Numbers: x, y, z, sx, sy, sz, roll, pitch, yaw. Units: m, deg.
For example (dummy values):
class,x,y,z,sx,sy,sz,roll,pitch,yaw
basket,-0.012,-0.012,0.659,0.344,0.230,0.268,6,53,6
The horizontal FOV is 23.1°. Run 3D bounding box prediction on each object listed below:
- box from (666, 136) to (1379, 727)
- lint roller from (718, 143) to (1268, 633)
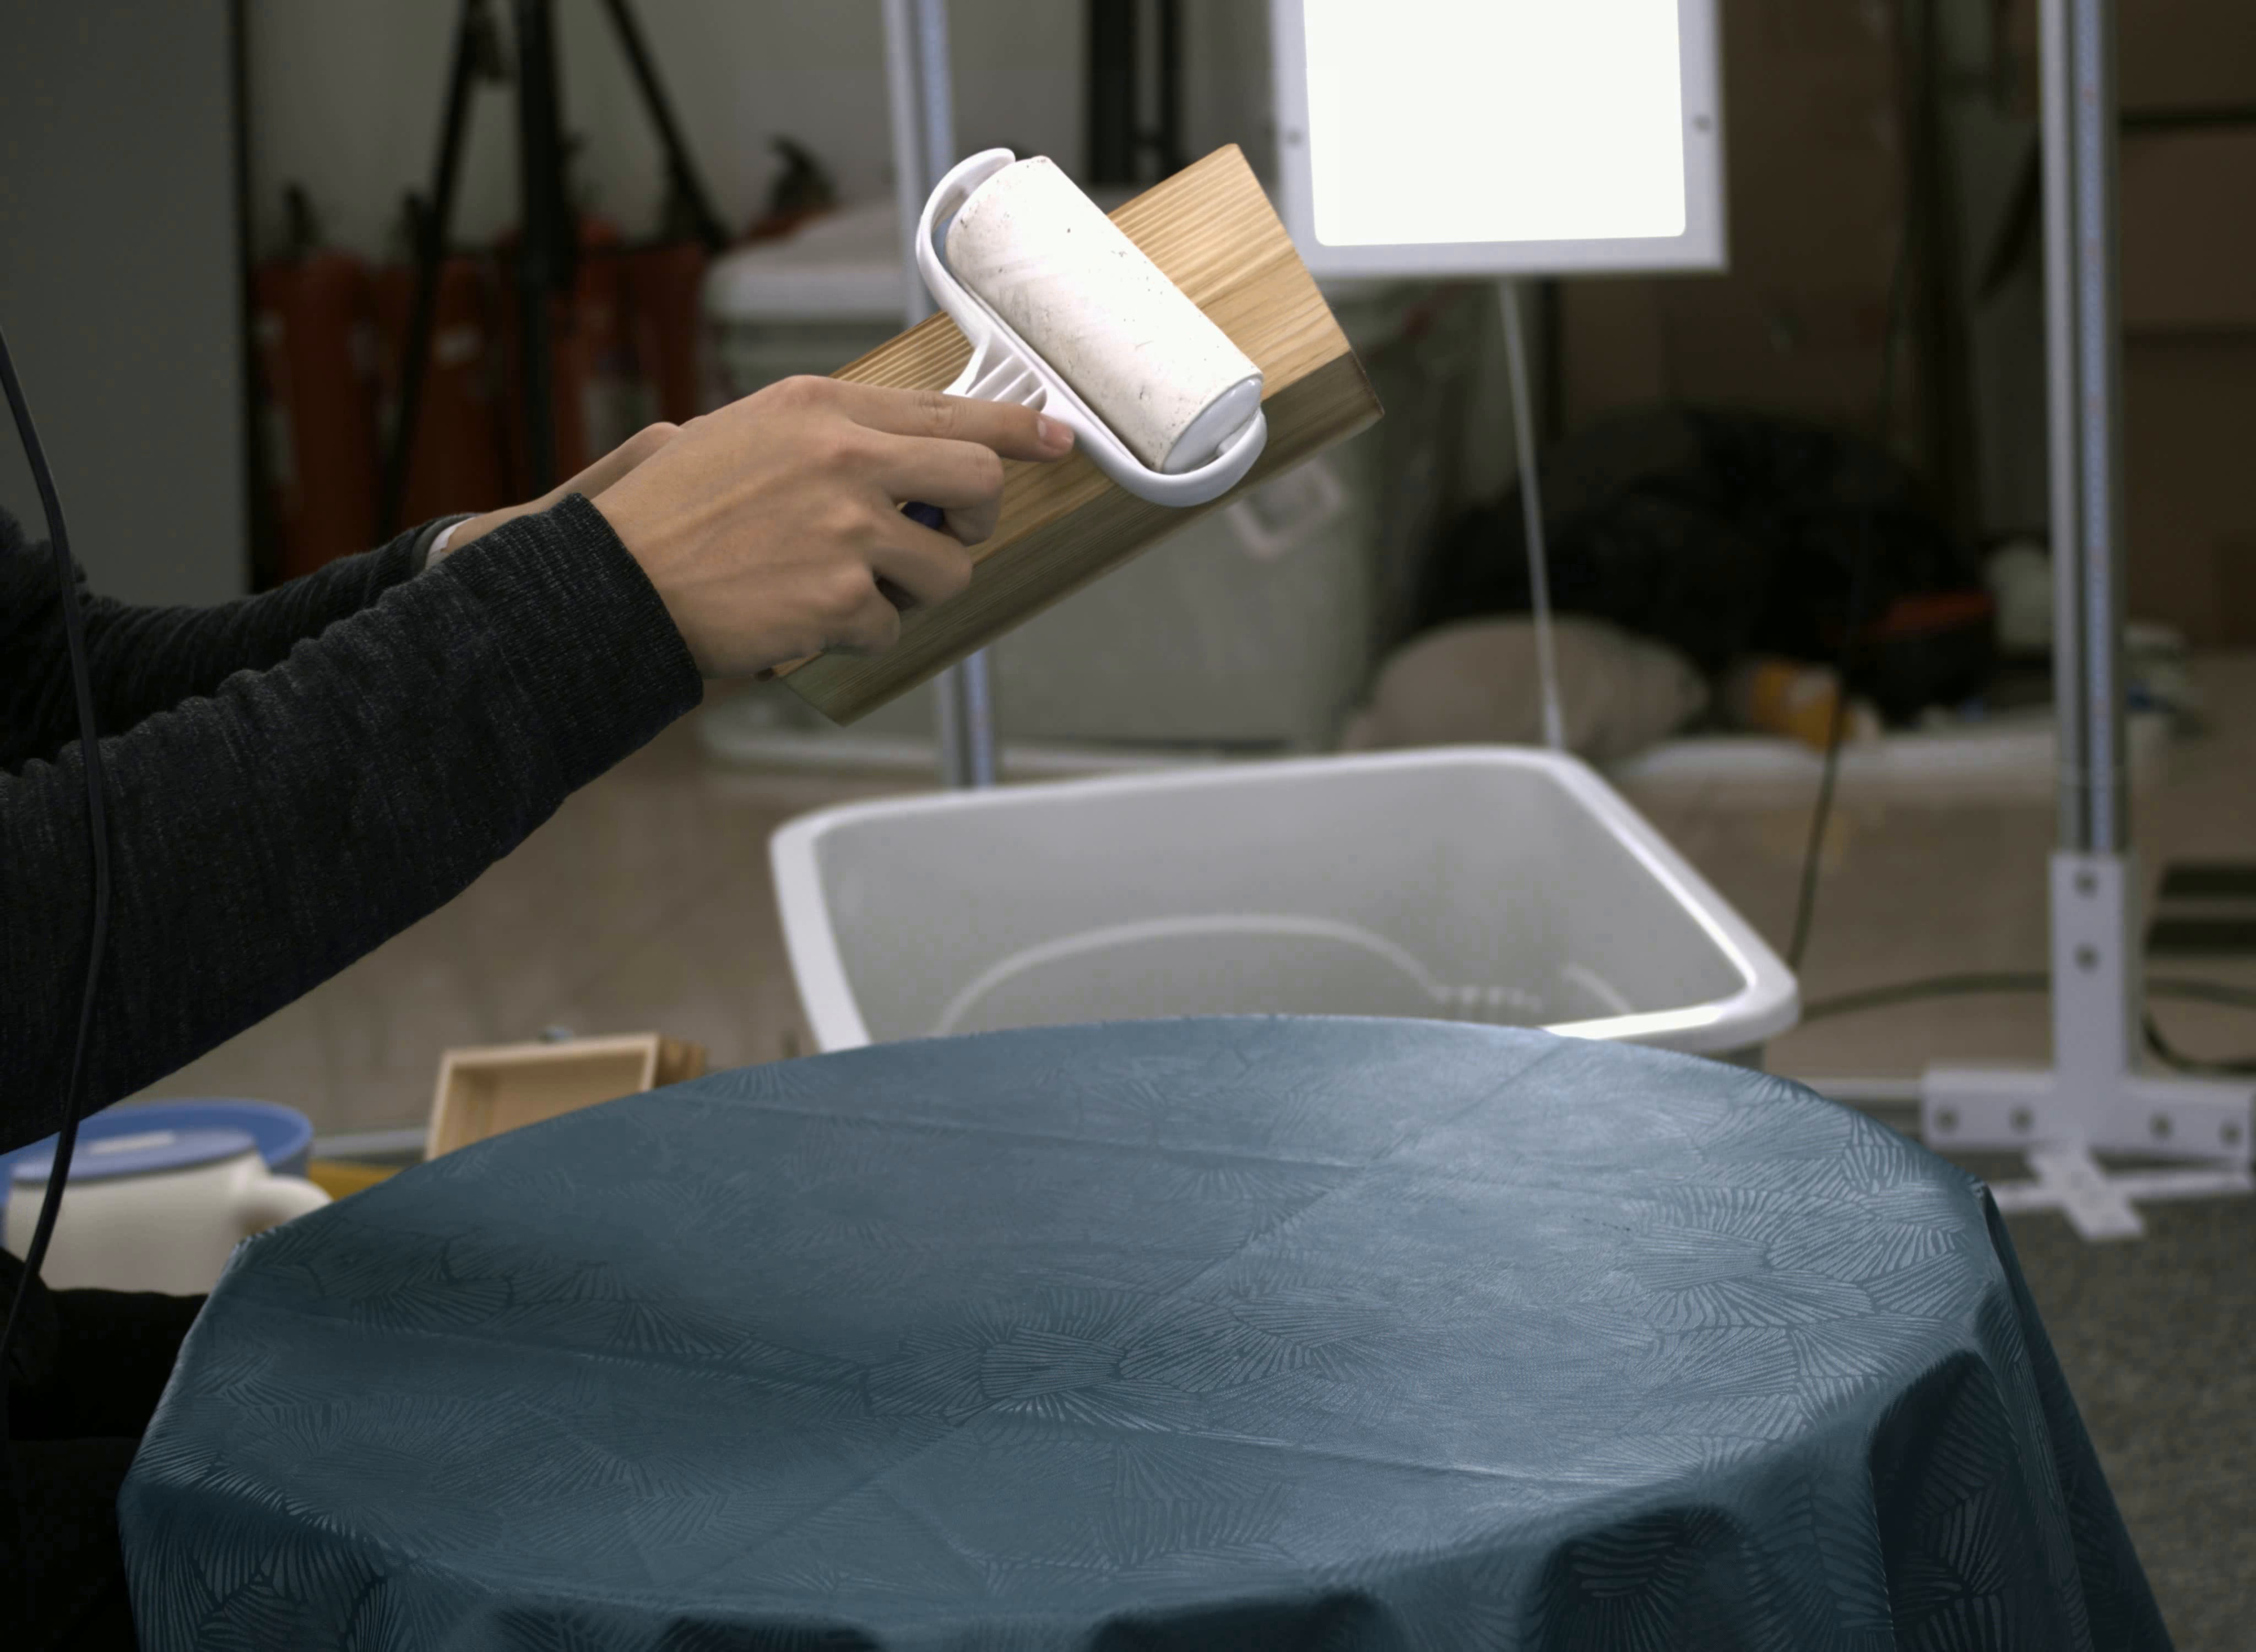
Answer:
class,x,y,z,sx,sy,sz,roll,pitch,yaw
box,-0.032,-0.126,1.792,0.212,0.080,0.106,-31,-11,6
lint roller,-0.056,-0.124,1.689,0.178,0.133,0.051,-37,-12,-24
